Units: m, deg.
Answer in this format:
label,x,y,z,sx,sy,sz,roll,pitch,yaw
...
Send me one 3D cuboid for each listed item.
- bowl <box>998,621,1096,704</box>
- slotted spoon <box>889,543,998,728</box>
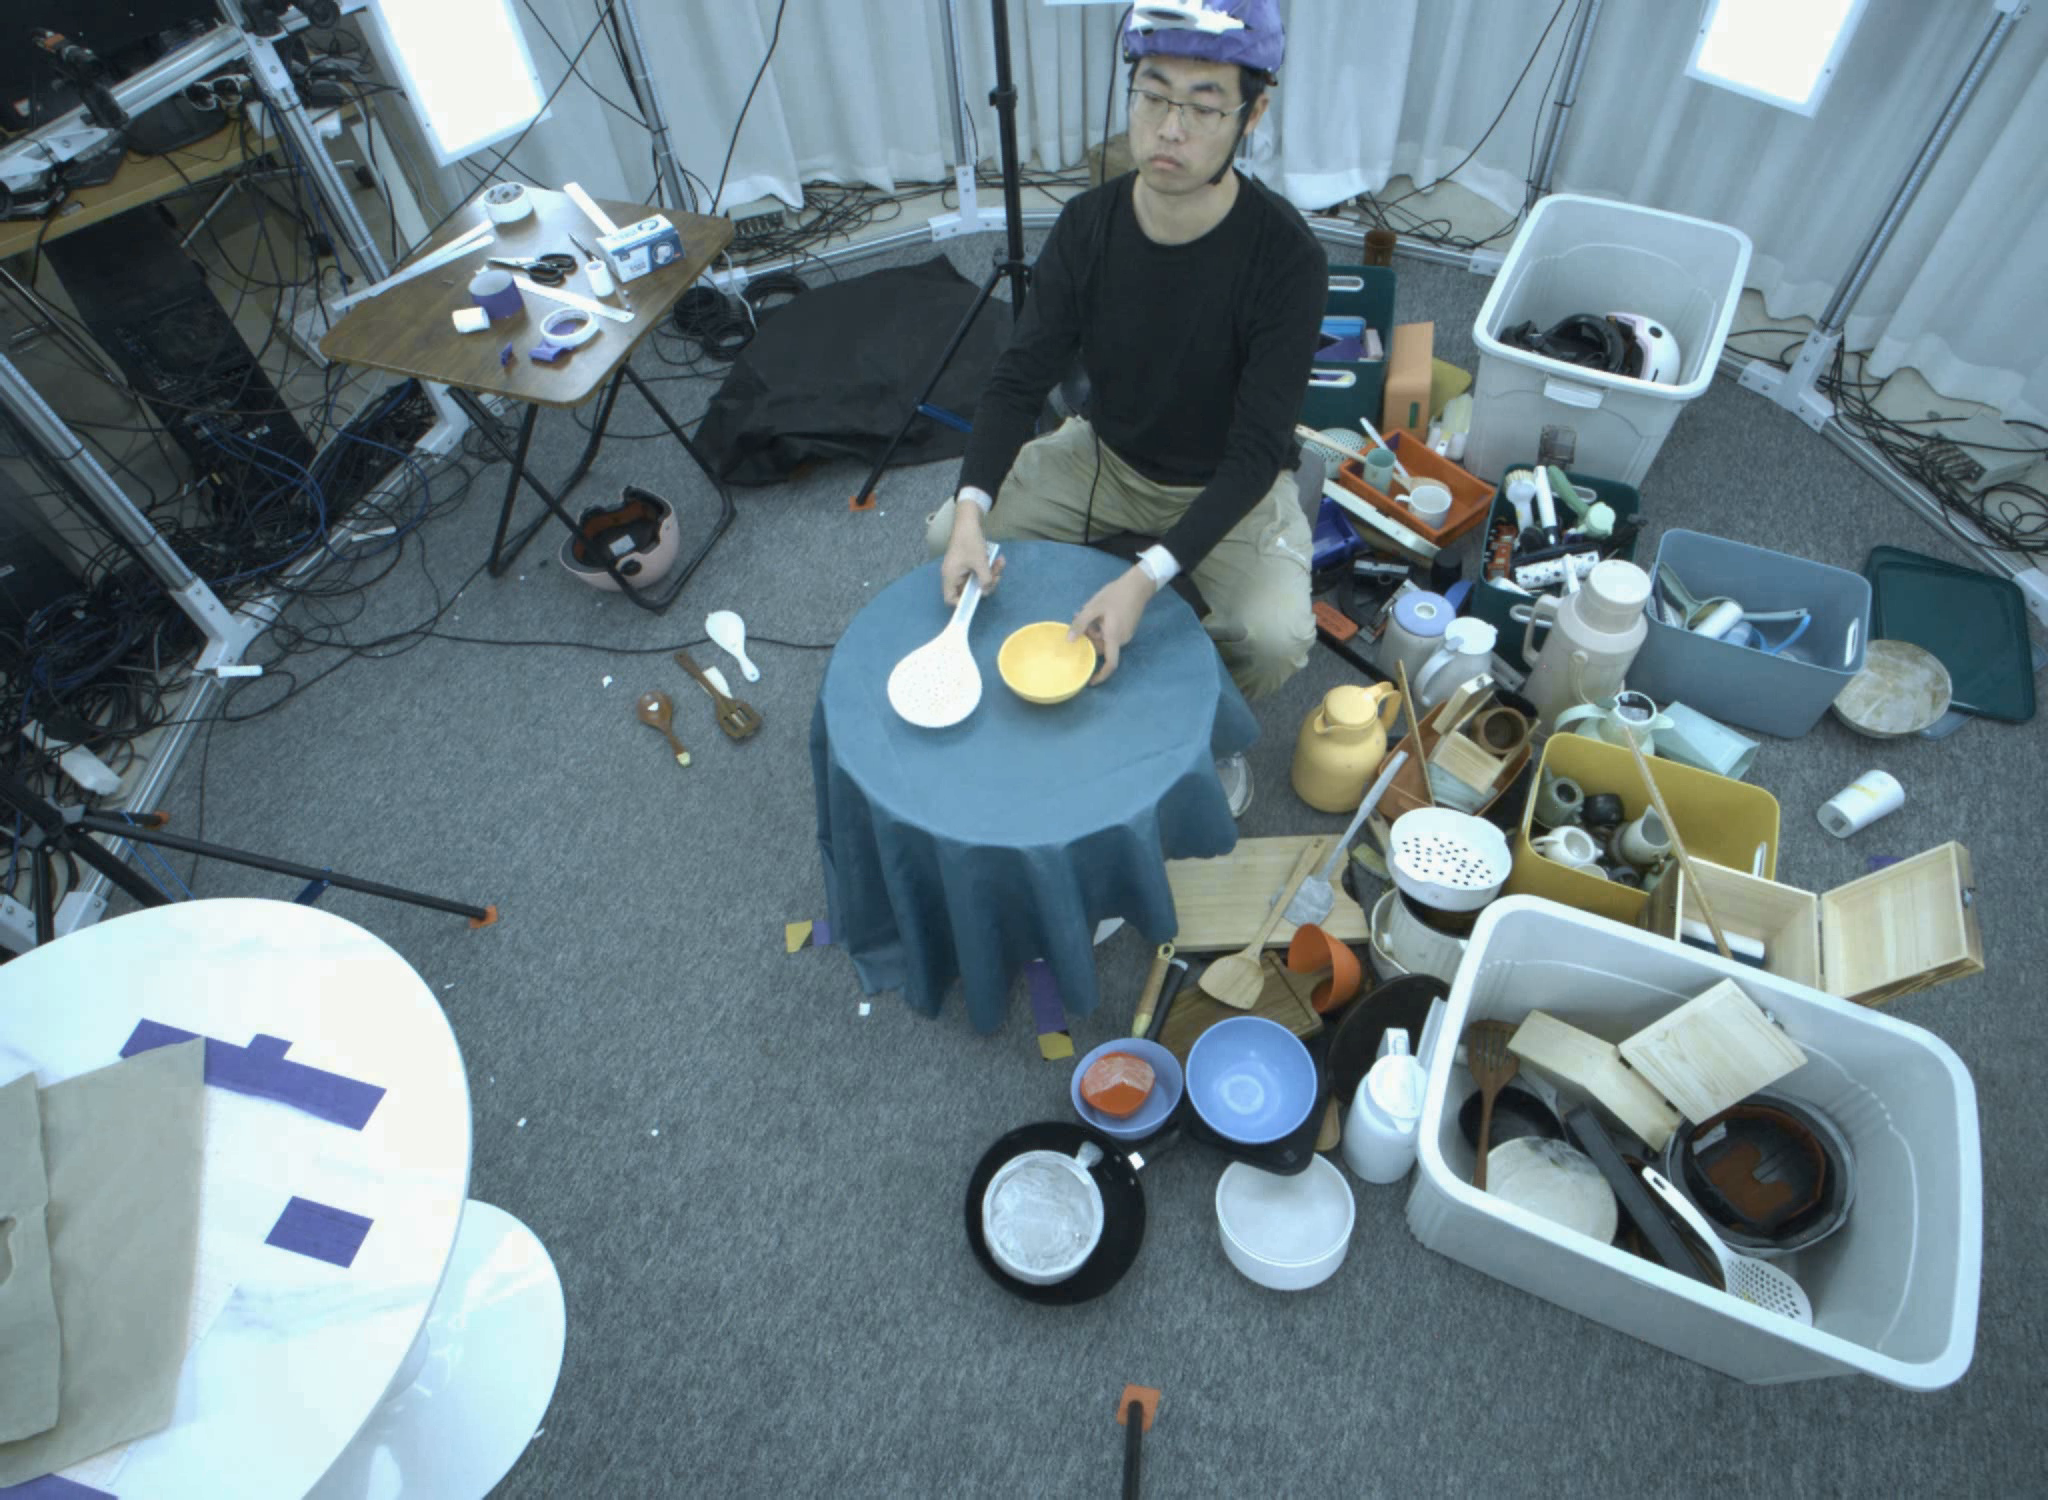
label,x,y,z,sx,sy,sz,roll,pitch,yaw
bowl,0.035,-0.119,1.837,0.145,0.061,0.144,0,57,1
slotted spoon,-0.102,-0.179,1.864,0.136,0.046,0.348,17,66,1
